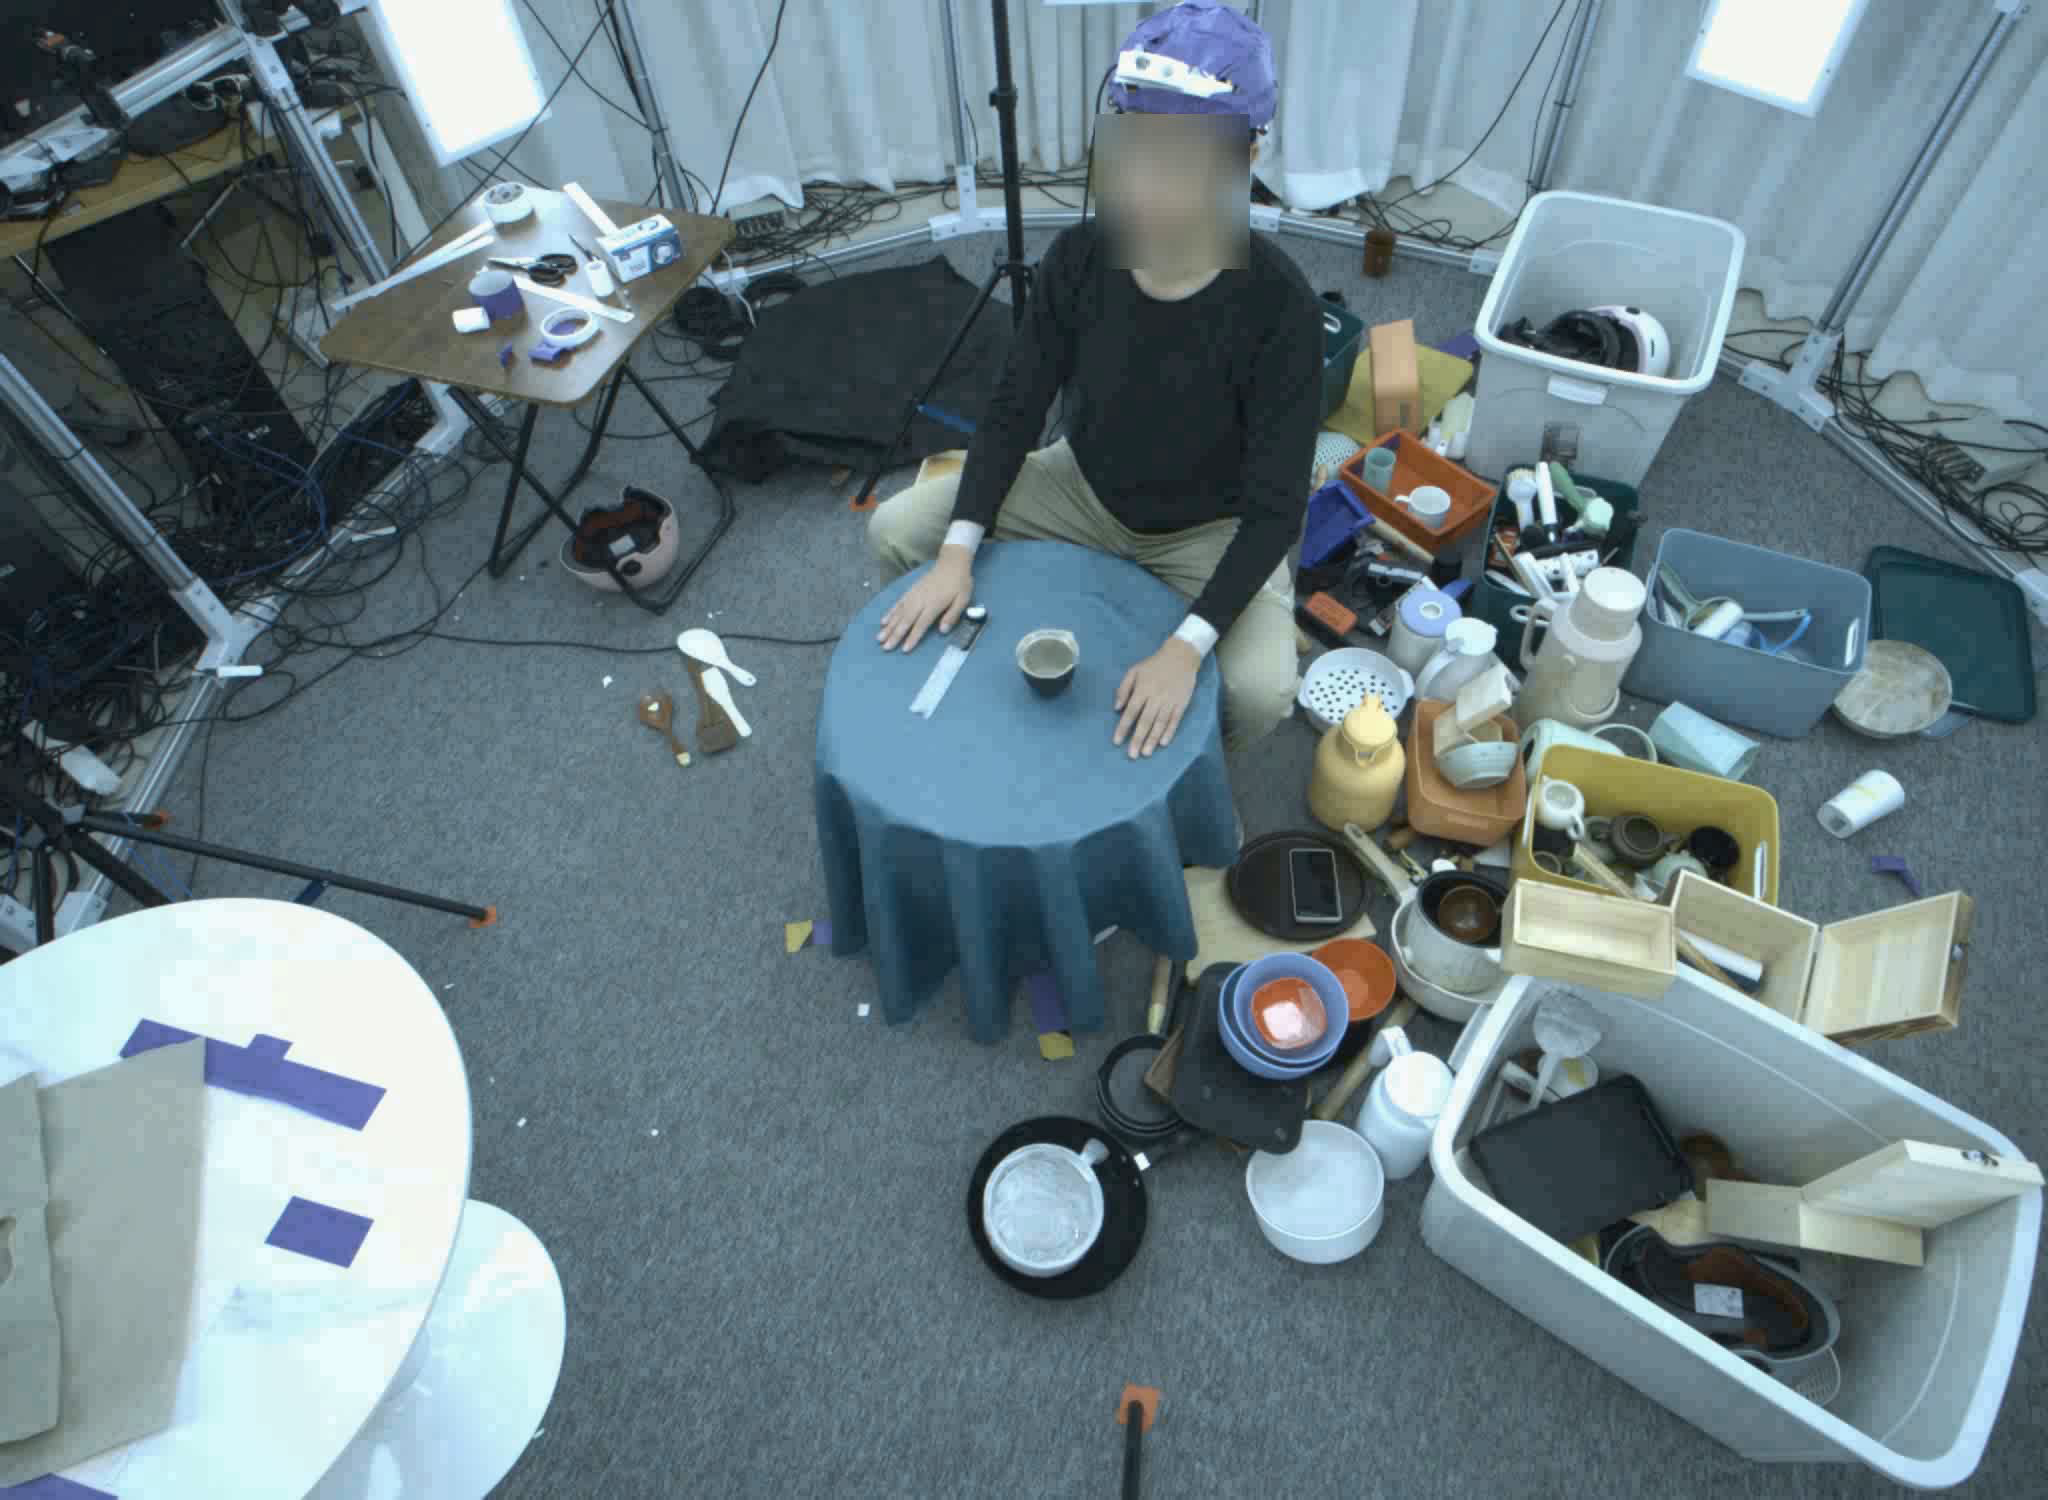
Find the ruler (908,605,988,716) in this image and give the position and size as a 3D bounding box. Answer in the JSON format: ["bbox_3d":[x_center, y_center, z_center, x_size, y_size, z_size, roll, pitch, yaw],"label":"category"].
[{"bbox_3d":[-0.114,-0.141,1.878,0.038,0.024,0.218,15,55,21],"label":"ruler"}]

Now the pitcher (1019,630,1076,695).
[{"bbox_3d":[0.040,-0.126,1.831,0.082,0.072,0.096,33,64,24],"label":"pitcher"}]
